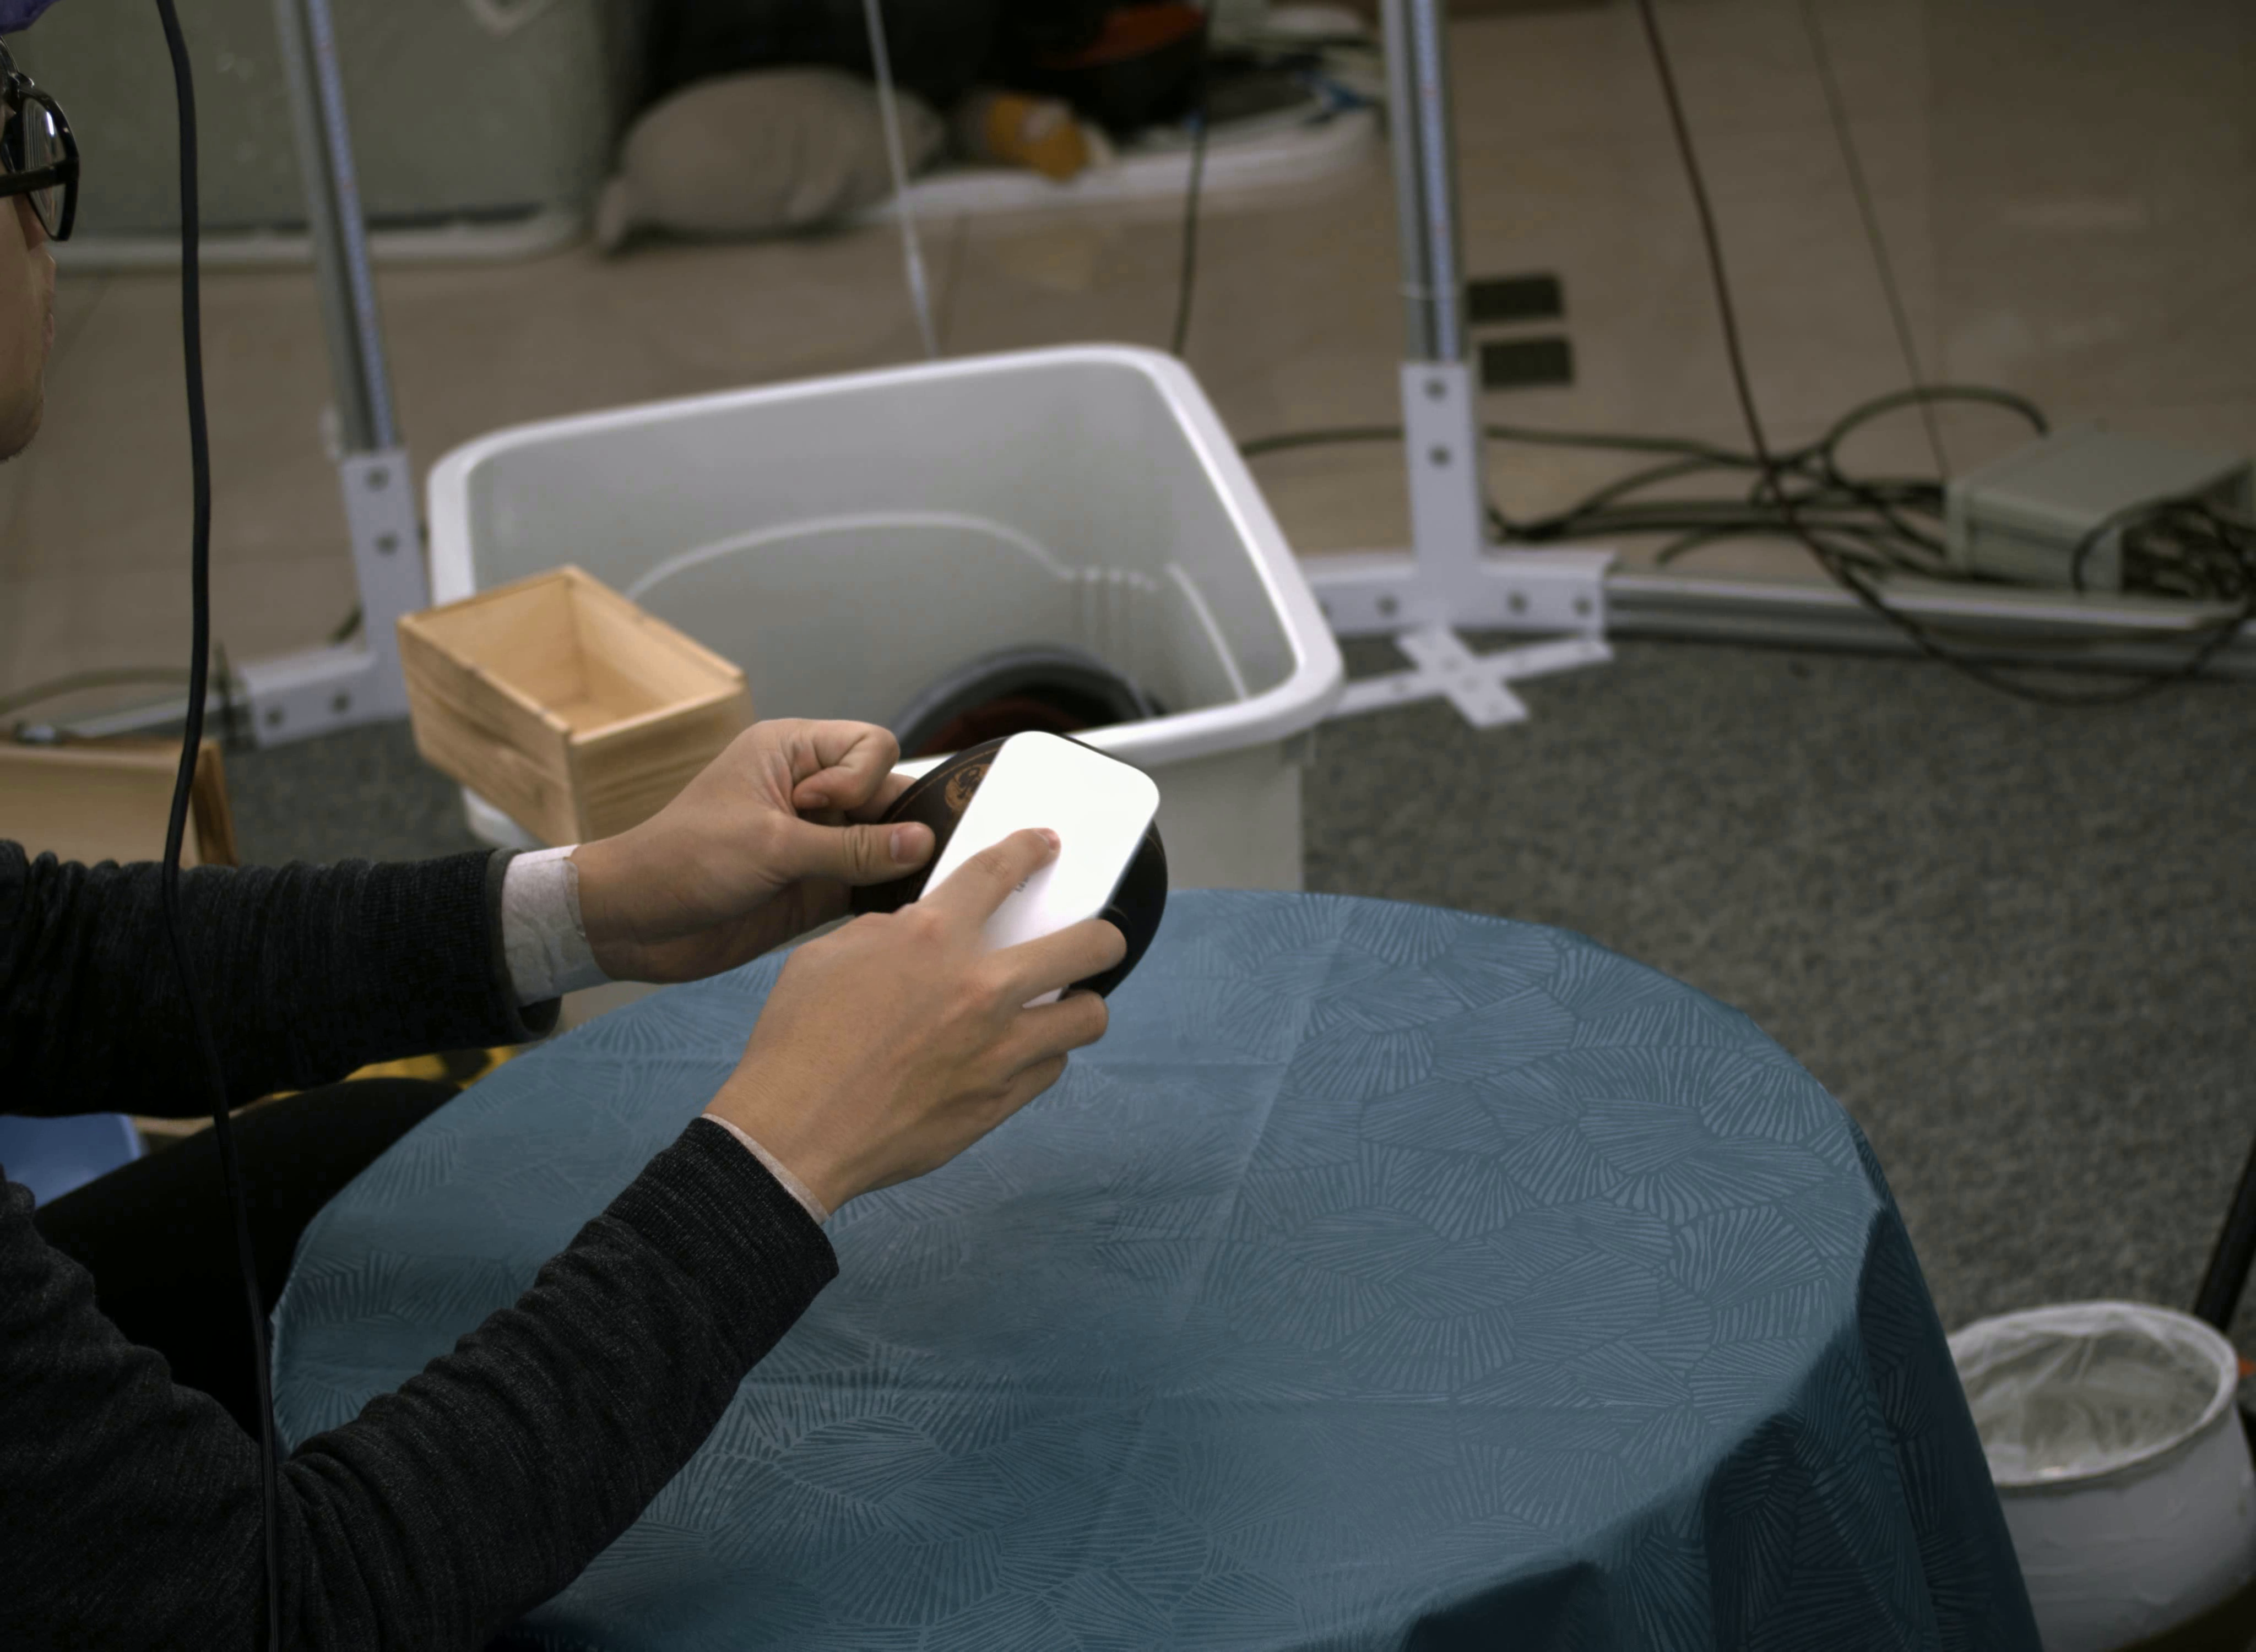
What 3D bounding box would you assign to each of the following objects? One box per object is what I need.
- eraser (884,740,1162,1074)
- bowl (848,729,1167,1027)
[{"bbox_3d":[-0.039,0.027,2.026,0.063,0.035,0.129,24,57,9],"label":"eraser"},{"bbox_3d":[-0.038,0.030,2.107,0.117,0.120,0.069,-16,46,-20],"label":"bowl"}]
